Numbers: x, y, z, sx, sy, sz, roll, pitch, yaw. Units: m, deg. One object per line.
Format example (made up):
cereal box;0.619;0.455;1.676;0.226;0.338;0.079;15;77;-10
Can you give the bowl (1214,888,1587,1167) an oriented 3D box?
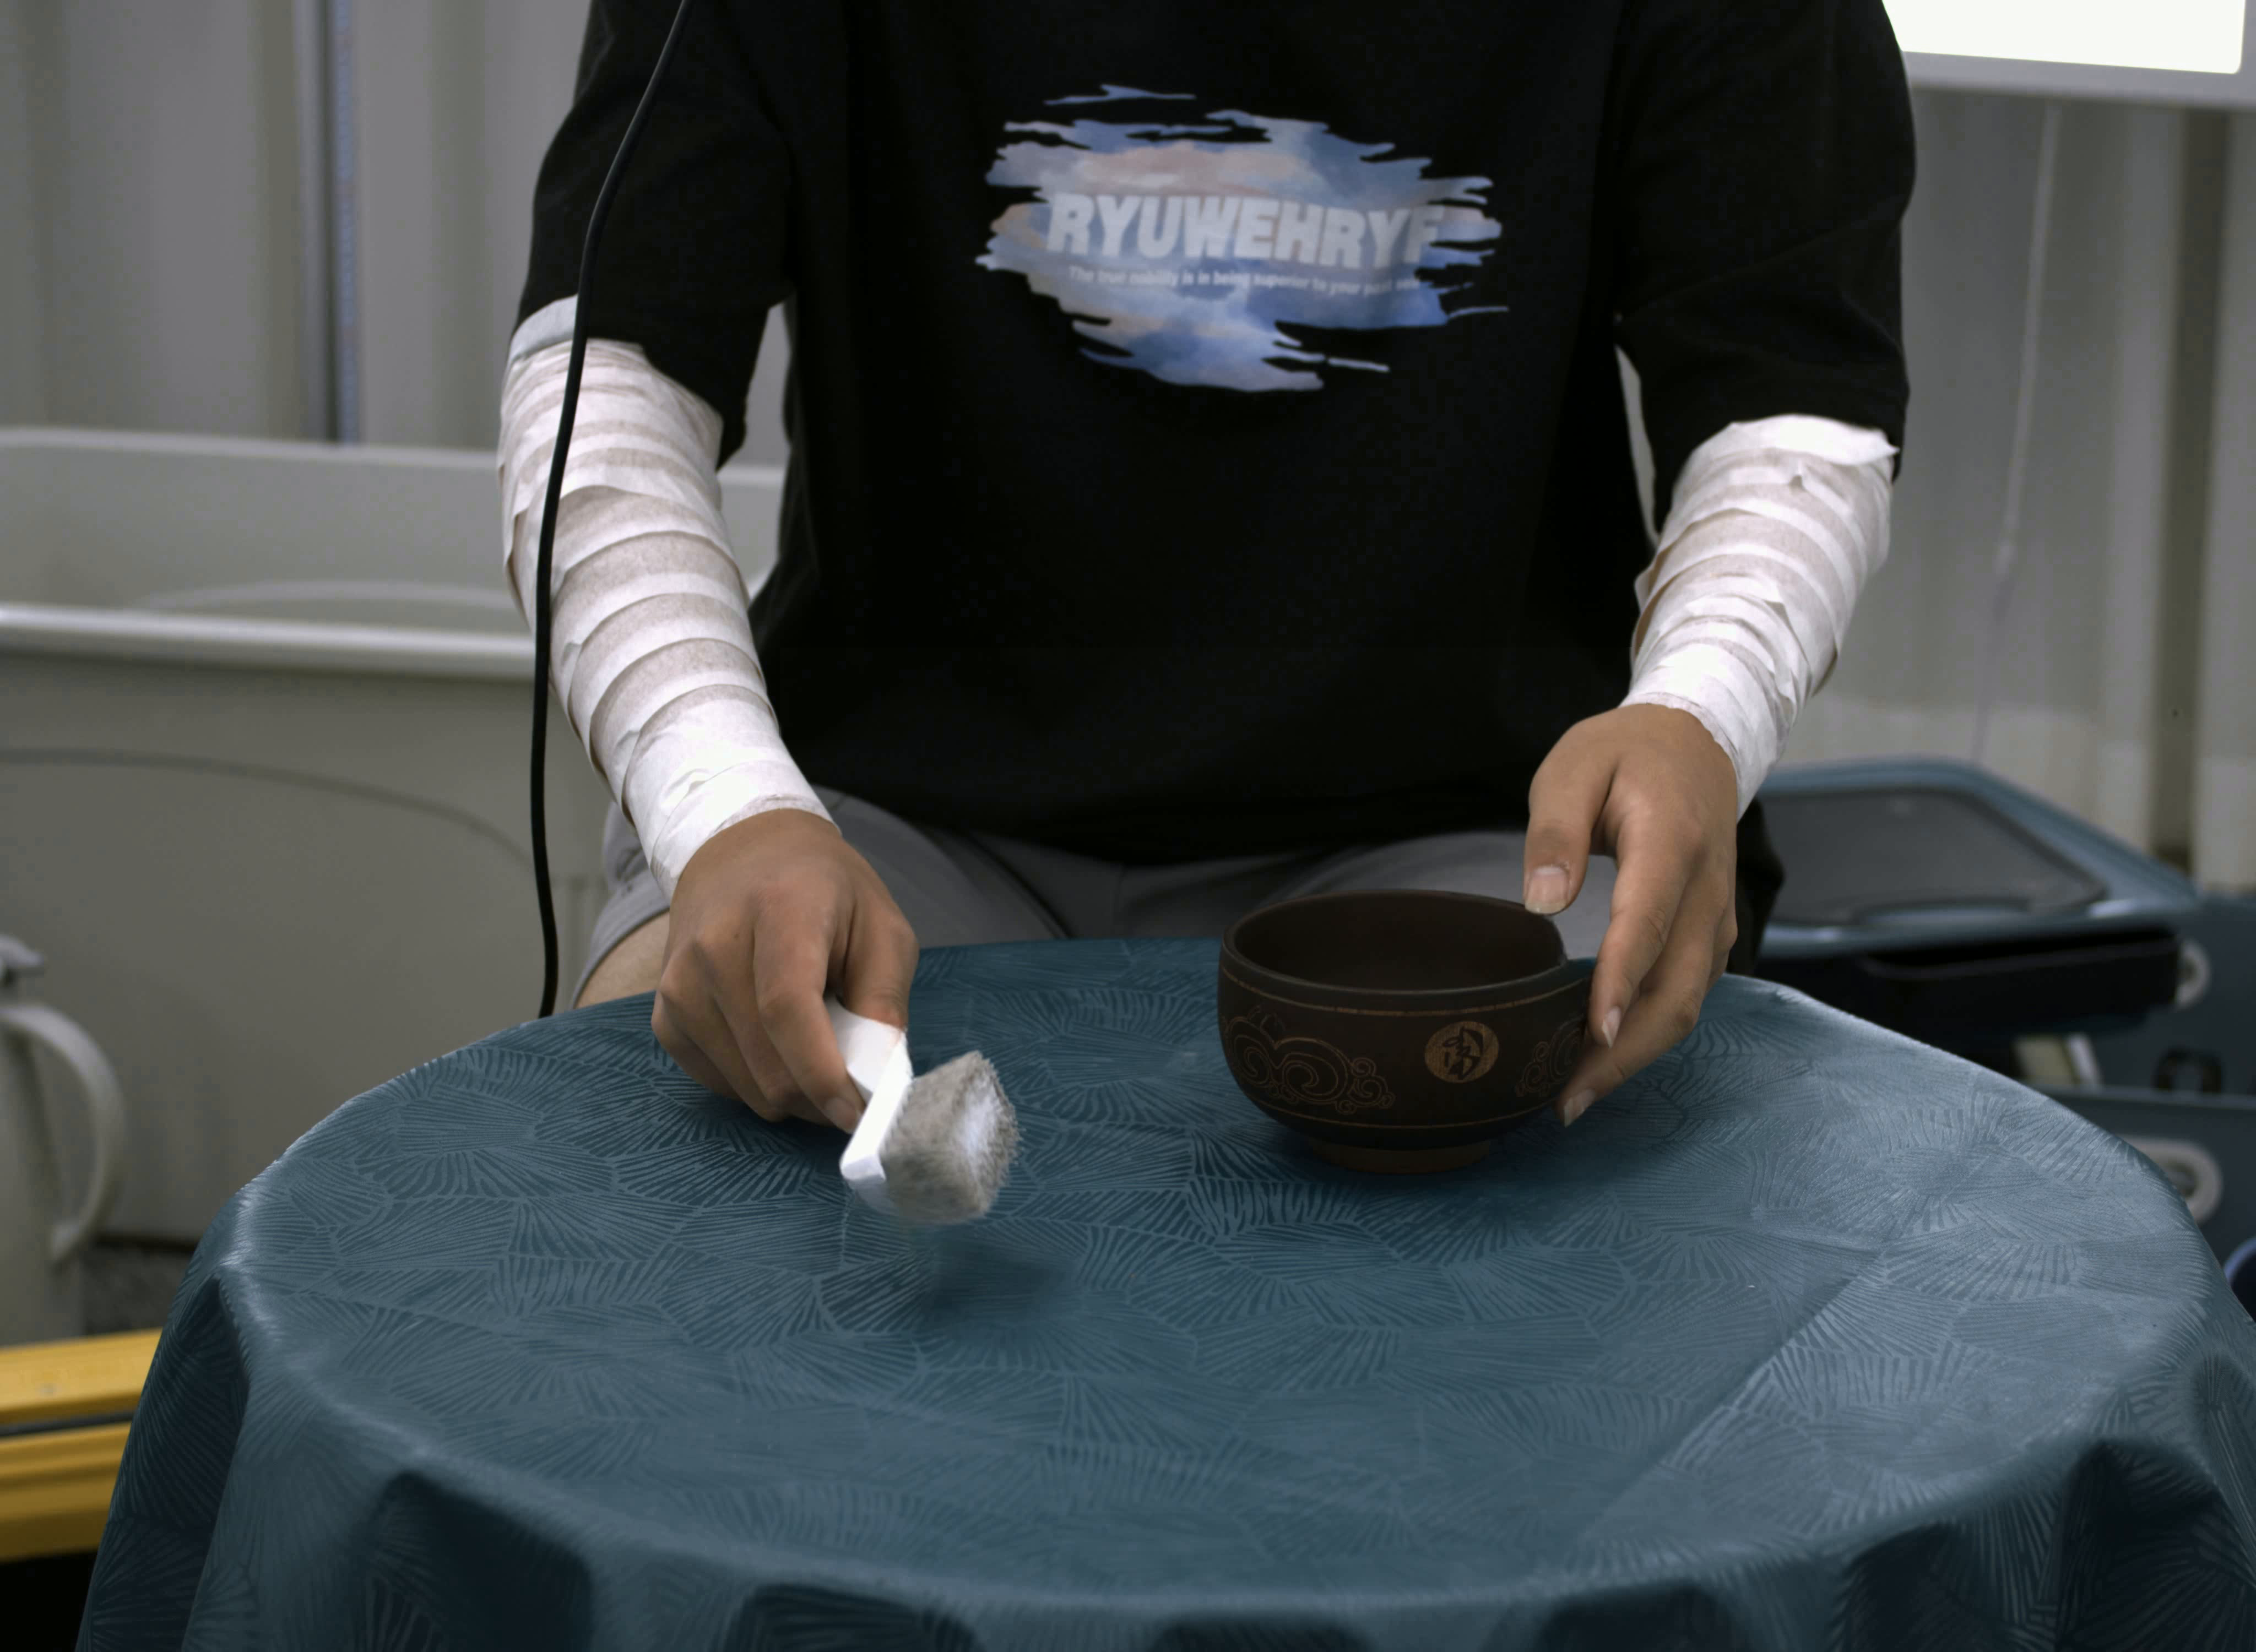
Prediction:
bowl;0.085;0.066;1.657;0.117;0.070;0.117;0;13;1

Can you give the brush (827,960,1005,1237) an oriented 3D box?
brush;-0.066;0.072;1.614;0.050;0.034;0.242;-22;13;1
